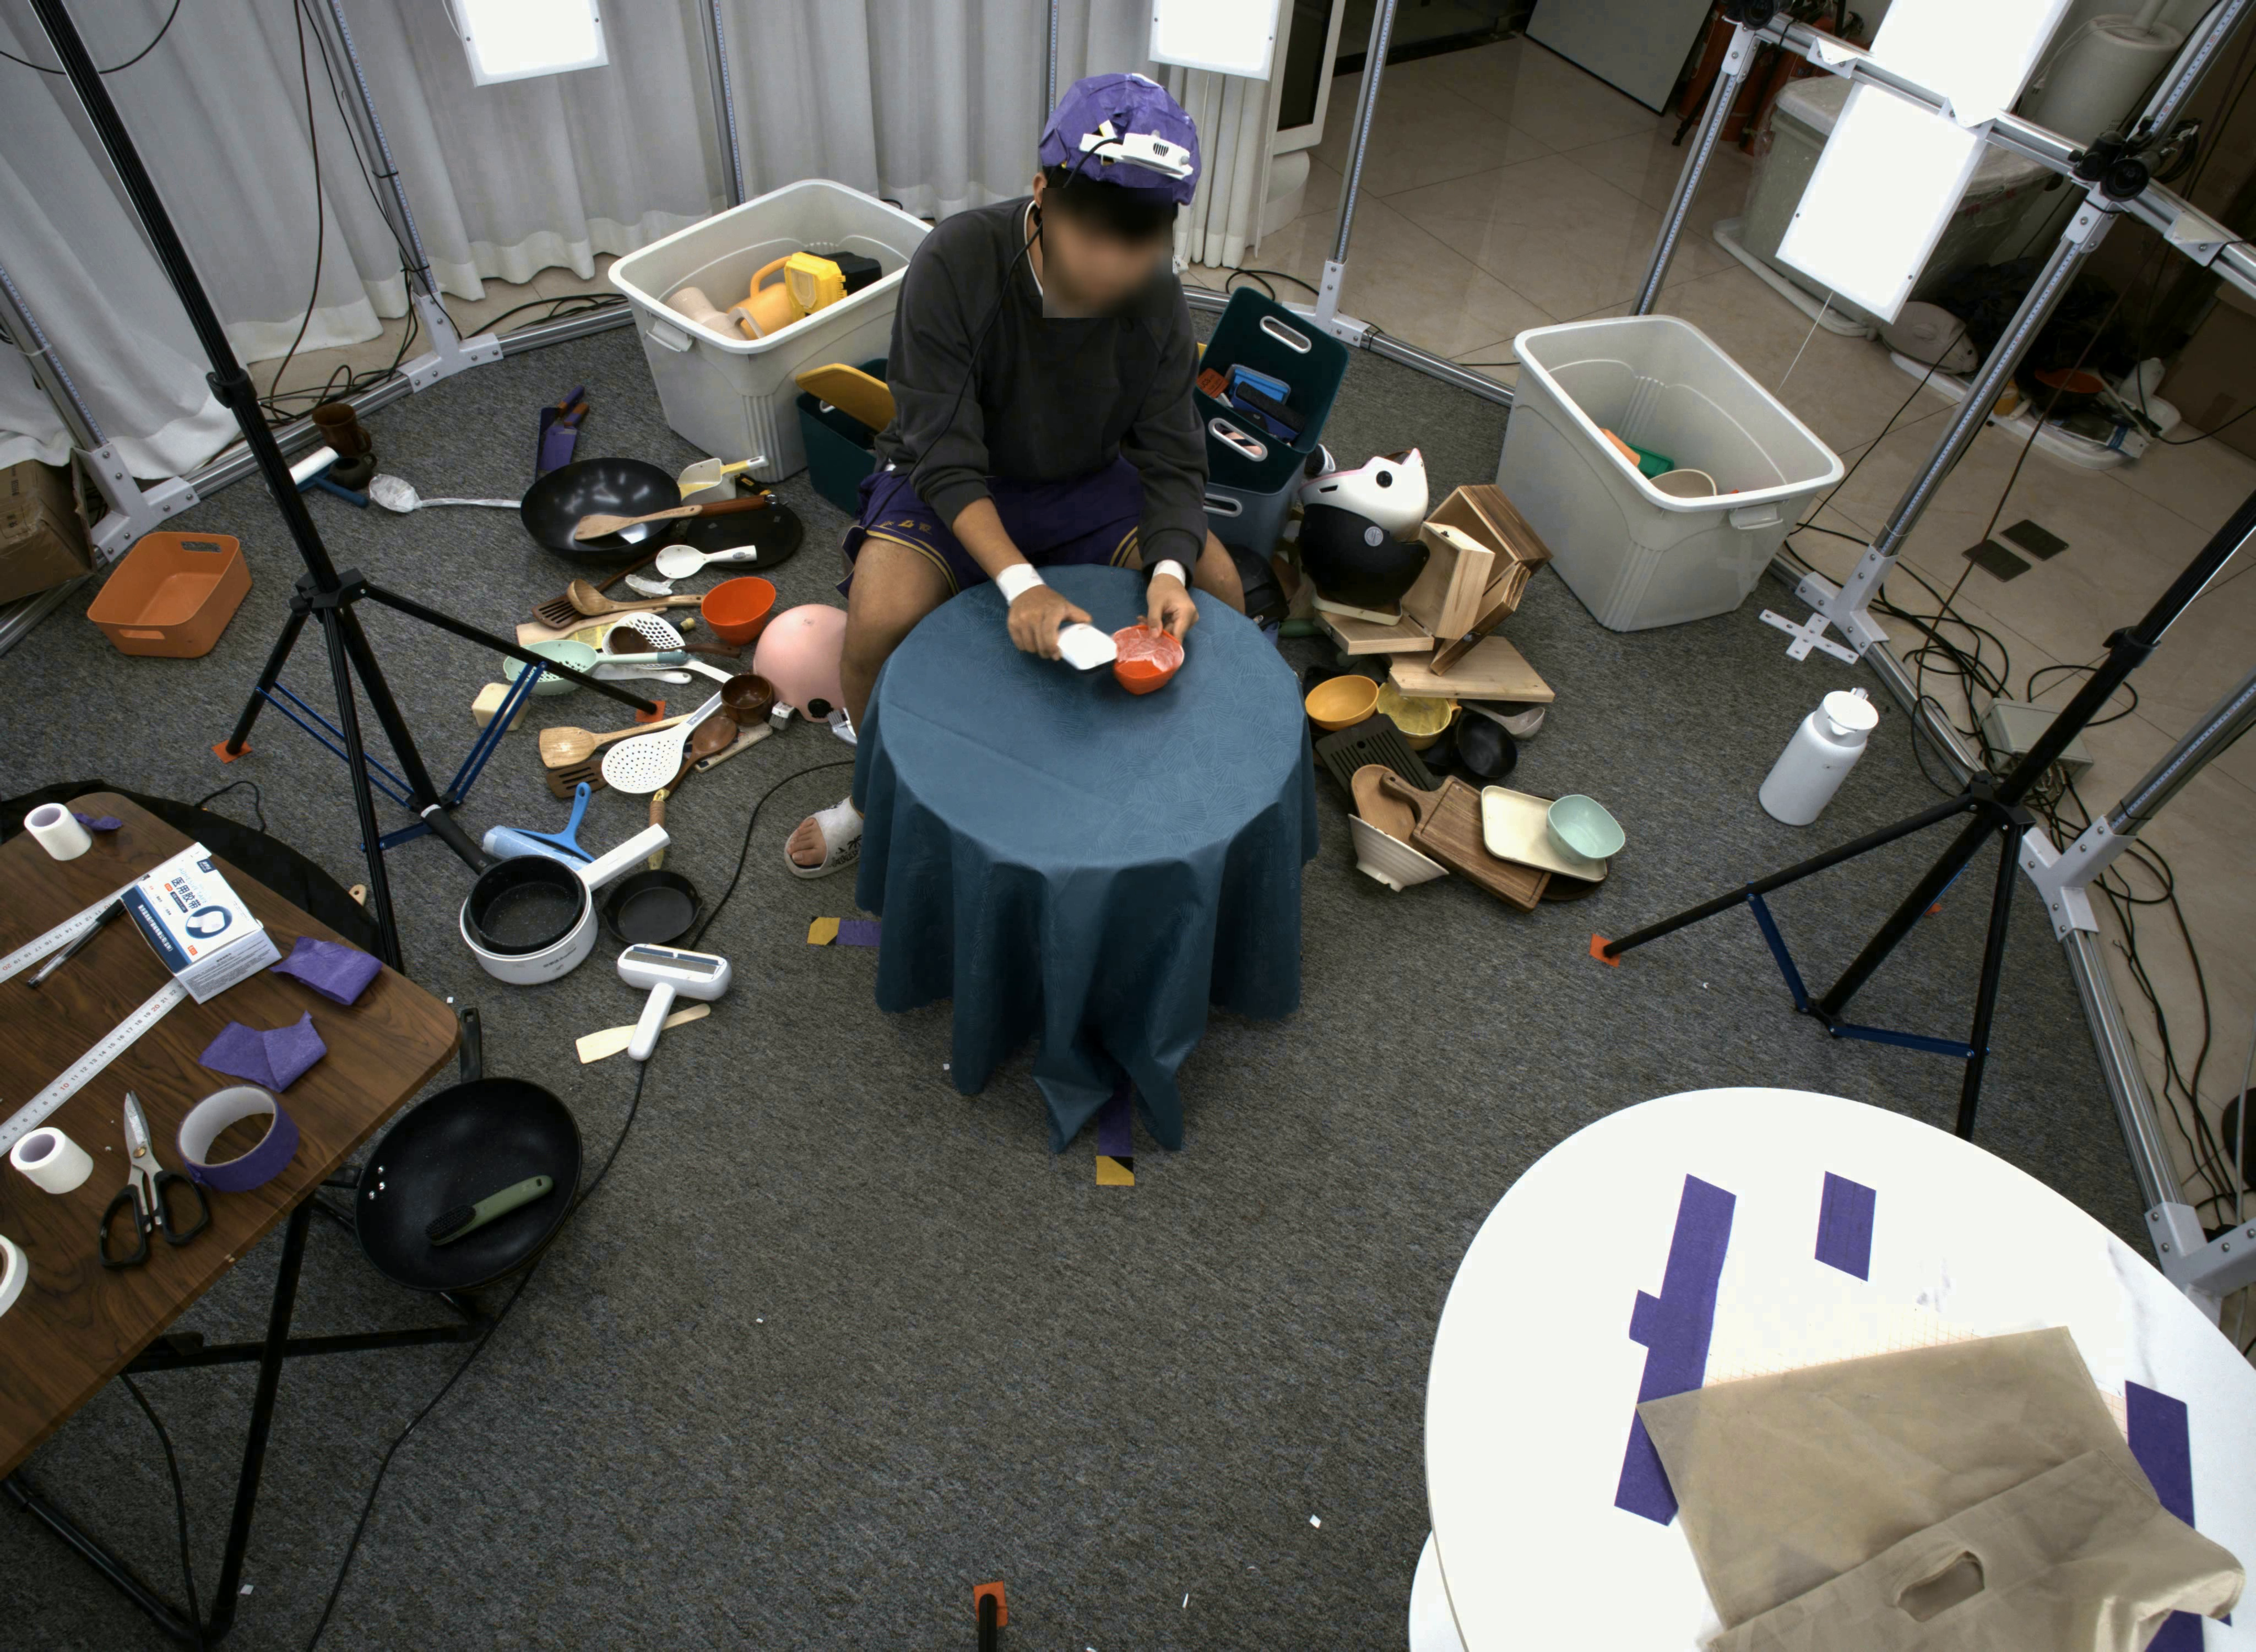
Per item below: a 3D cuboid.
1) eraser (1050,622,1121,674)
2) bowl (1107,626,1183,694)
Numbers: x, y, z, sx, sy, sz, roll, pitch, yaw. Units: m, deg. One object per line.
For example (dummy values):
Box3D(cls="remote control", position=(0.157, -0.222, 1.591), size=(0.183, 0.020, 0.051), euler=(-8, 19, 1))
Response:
Box3D(cls="eraser", position=(-0.059, -0.253, 1.791), size=(0.063, 0.034, 0.134), euler=(-21, 34, -18))
Box3D(cls="bowl", position=(0.019, -0.232, 1.833), size=(0.119, 0.050, 0.122), euler=(-1, 44, 0))
